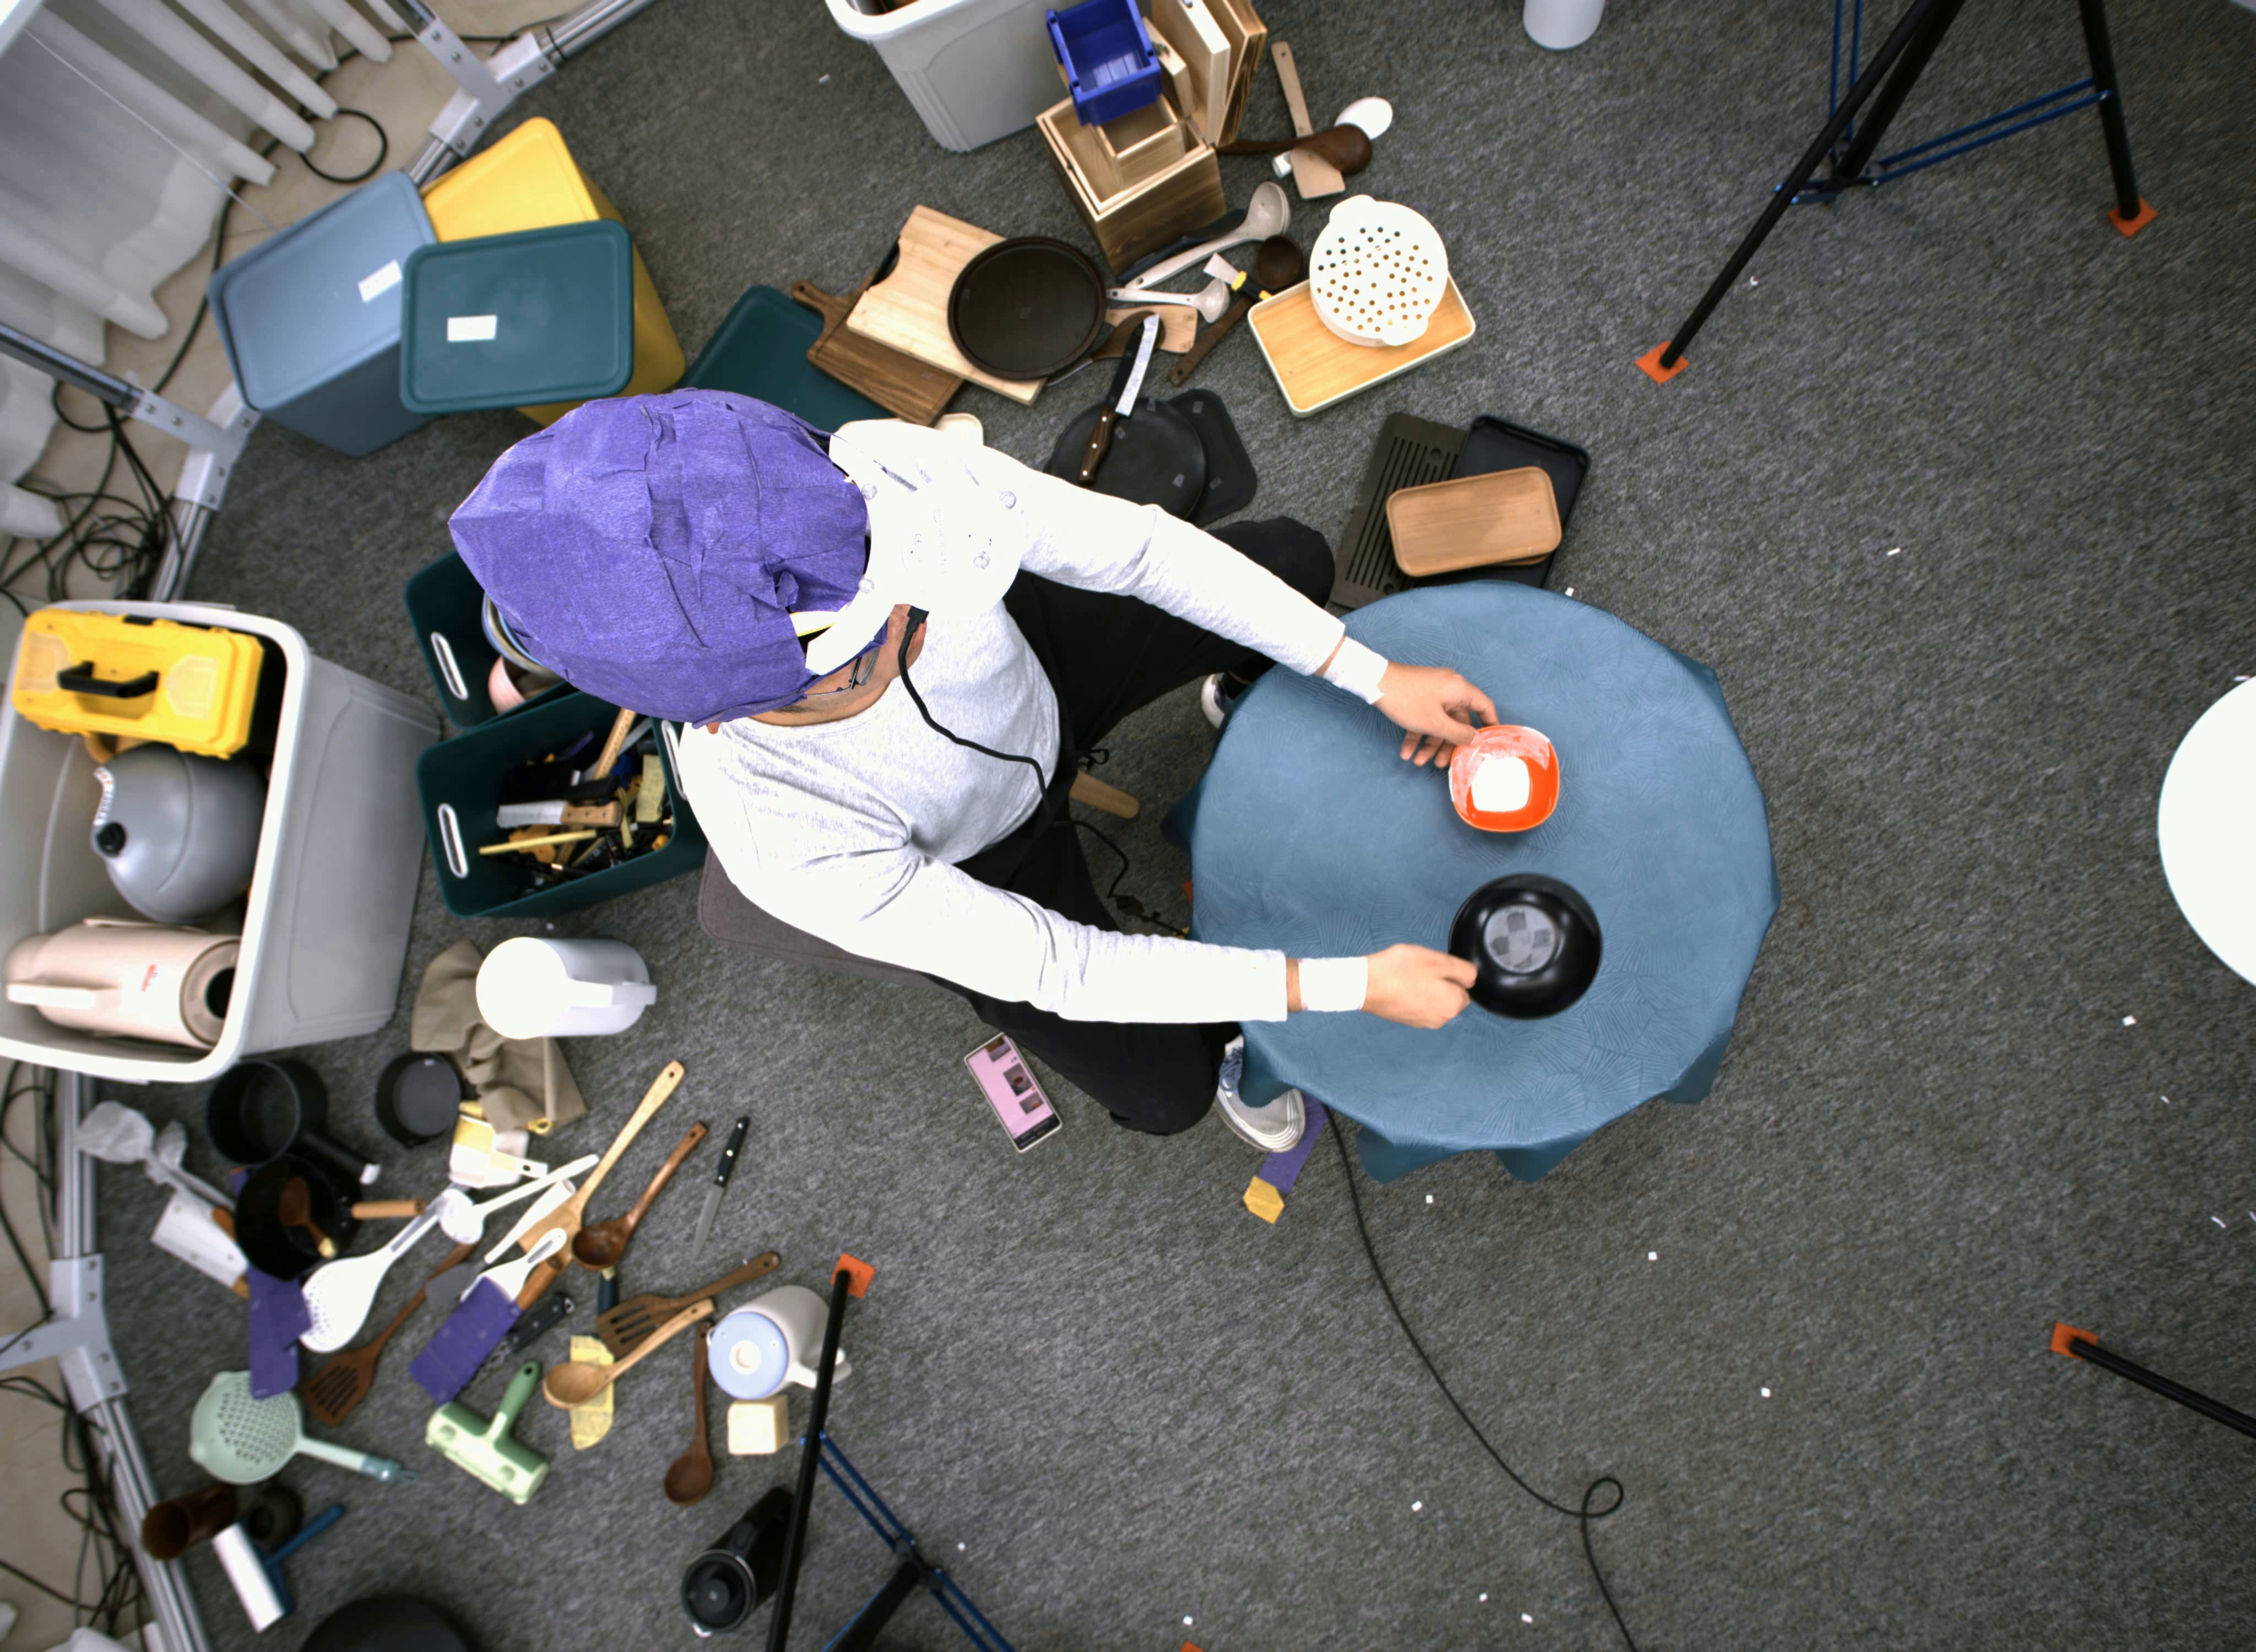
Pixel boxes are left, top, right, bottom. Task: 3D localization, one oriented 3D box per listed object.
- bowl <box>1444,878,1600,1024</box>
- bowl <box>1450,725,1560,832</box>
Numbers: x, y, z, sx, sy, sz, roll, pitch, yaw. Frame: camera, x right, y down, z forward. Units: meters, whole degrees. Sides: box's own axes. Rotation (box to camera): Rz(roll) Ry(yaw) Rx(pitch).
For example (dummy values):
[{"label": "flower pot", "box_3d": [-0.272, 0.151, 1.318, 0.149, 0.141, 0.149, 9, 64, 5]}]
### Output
[{"label": "bowl", "box_3d": [0.368, 0.111, 1.291, 0.140, 0.049, 0.141, 2, 101, 14]}, {"label": "bowl", "box_3d": [0.386, -0.049, 1.417, 0.119, 0.051, 0.118, -1, 87, 8]}]
